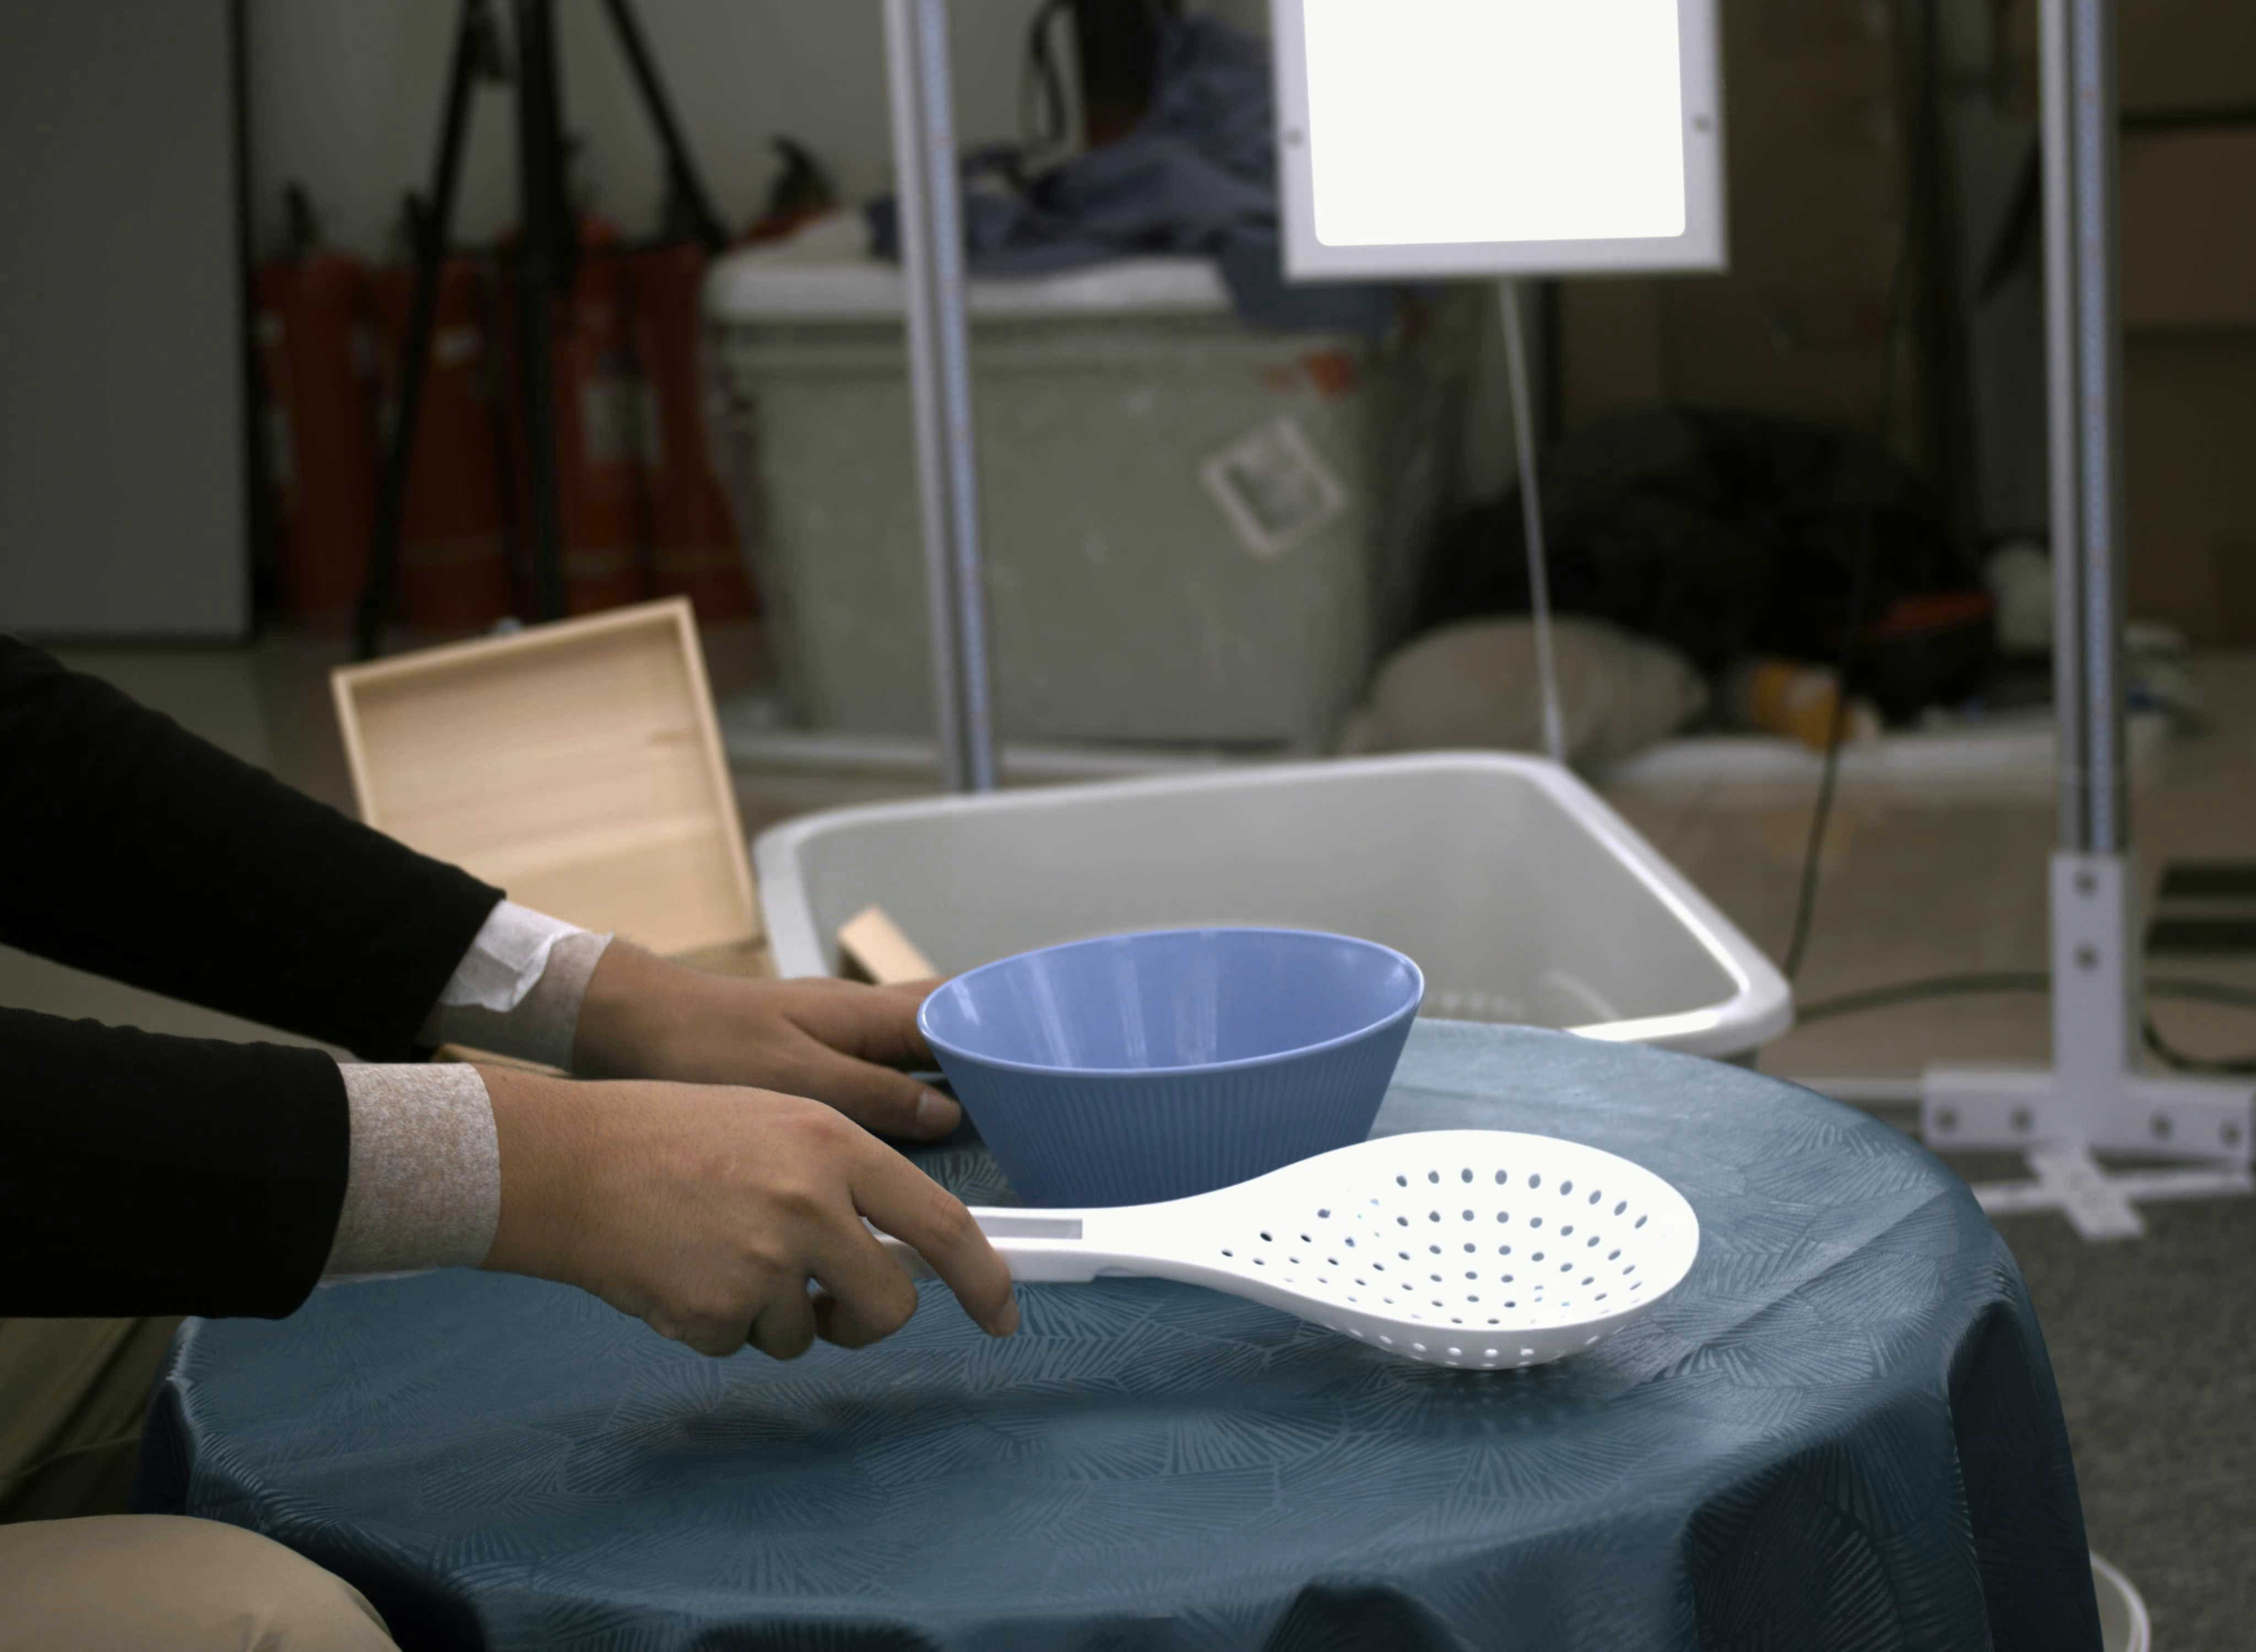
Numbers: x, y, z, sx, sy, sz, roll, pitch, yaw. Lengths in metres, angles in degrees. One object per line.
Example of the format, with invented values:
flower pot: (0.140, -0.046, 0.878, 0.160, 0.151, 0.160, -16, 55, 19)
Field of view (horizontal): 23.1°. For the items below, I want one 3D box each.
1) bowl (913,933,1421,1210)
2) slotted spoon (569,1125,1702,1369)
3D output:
bowl: (0.016, 0.089, 1.897, 0.175, 0.070, 0.176, -6, 13, 0)
slotted spoon: (0.002, 0.129, 1.706, 0.349, 0.046, 0.135, 5, 24, 0)
